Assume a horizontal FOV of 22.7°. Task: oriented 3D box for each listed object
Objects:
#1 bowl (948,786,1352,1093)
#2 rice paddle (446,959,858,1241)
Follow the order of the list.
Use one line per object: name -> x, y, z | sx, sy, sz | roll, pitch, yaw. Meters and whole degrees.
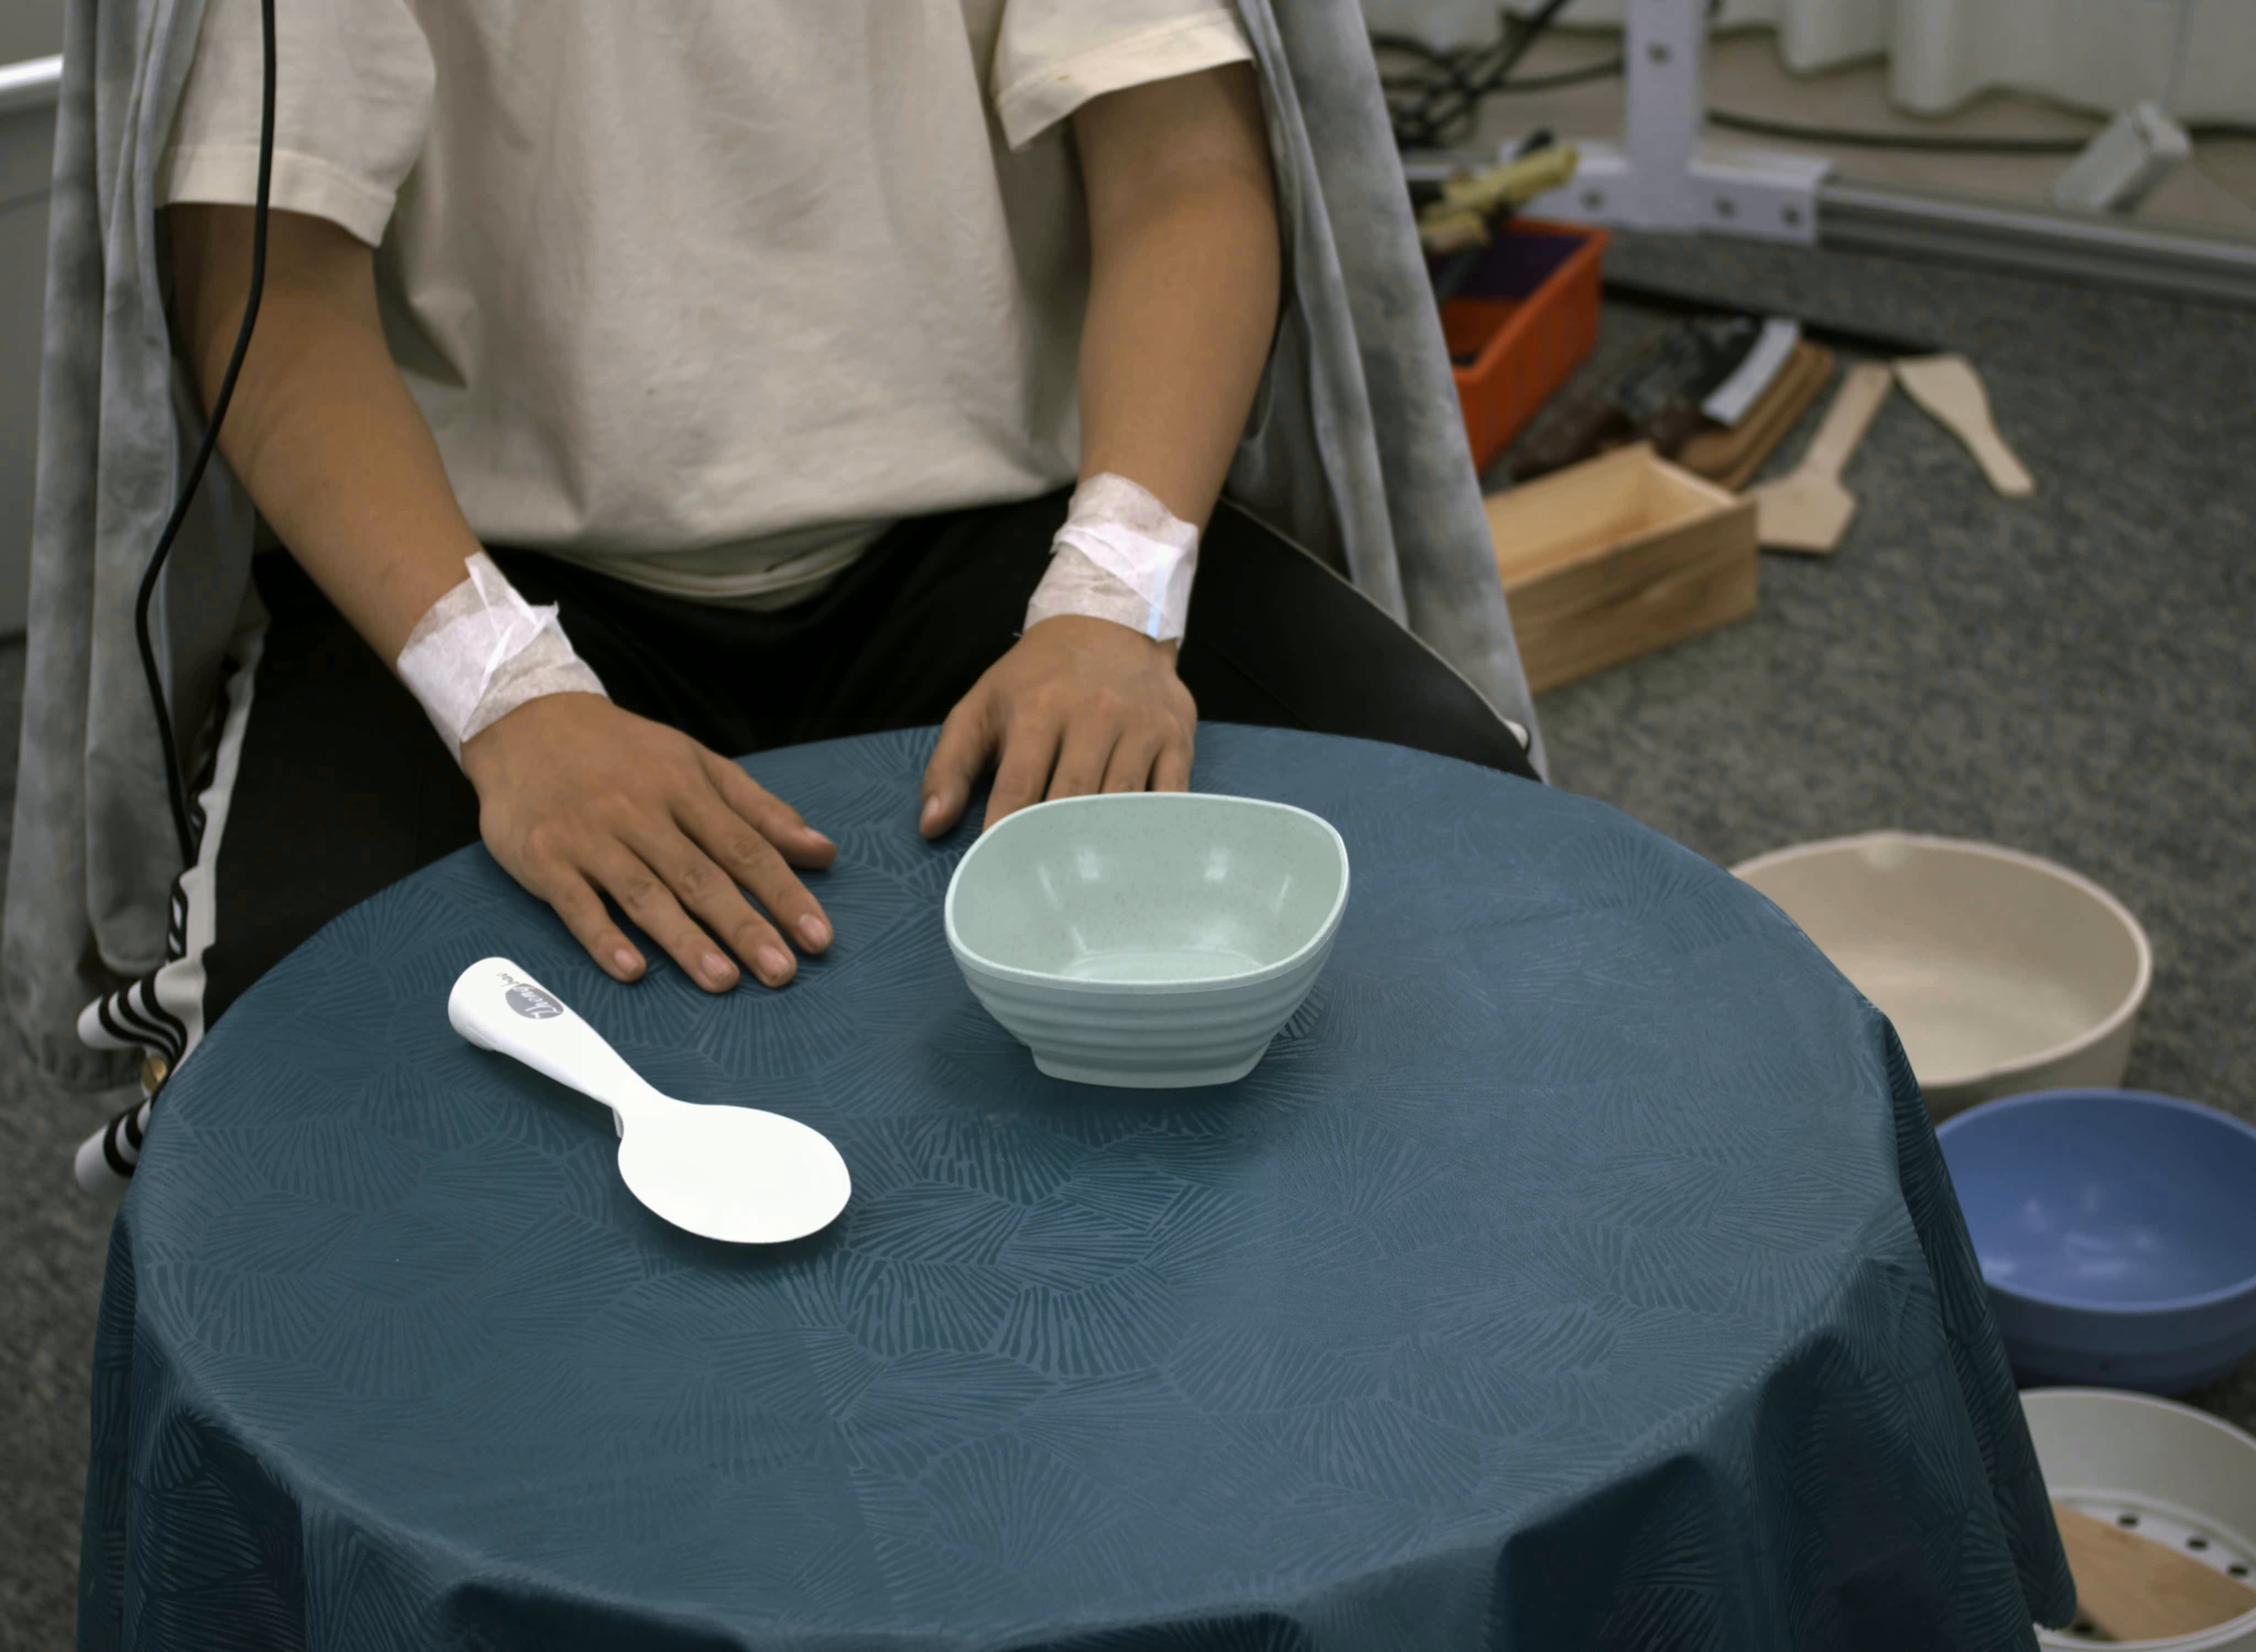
bowl -> 0.010, 0.045, 1.946 | 0.150, 0.058, 0.154 | -3, 29, 2
rice paddle -> -0.163, 0.094, 1.897 | 0.069, 0.029, 0.205 | -23, 33, -31
